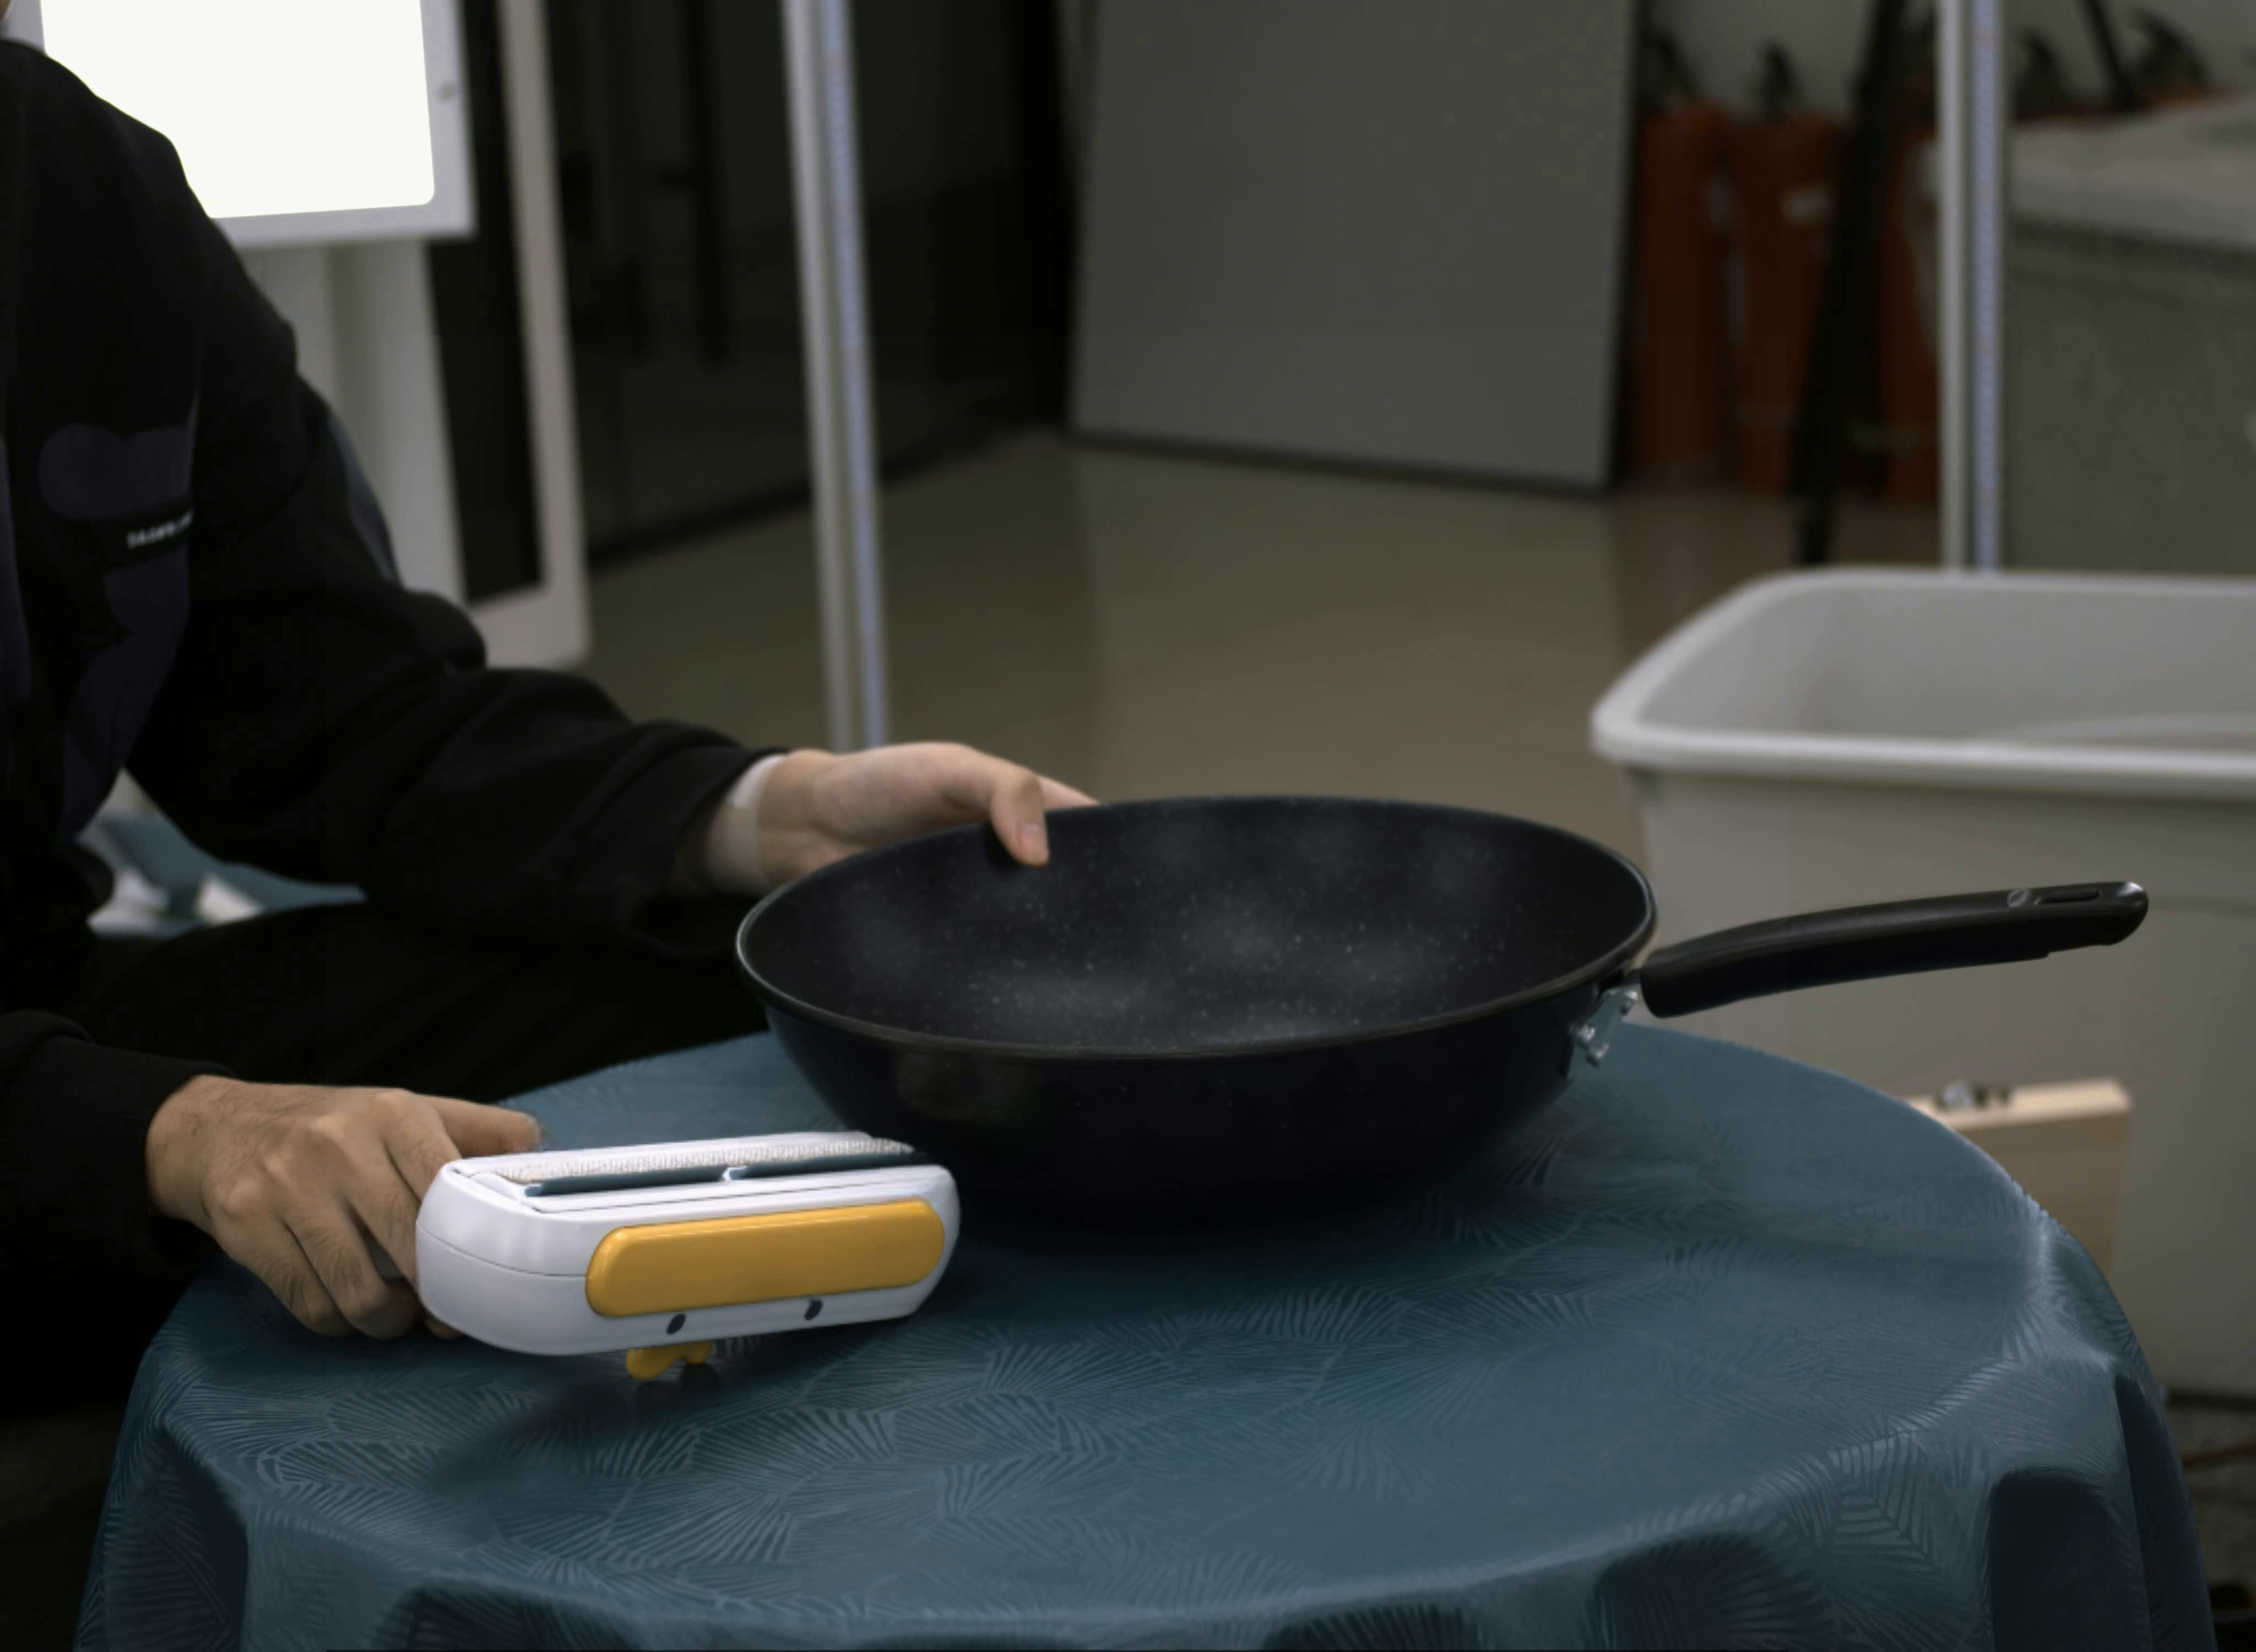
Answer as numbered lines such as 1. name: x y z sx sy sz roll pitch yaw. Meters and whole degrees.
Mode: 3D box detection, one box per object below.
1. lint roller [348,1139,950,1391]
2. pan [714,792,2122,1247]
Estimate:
1. lint roller: -0.175 0.126 1.662 0.188 0.075 0.194 -6 10 -42
2. pan: 0.092 0.063 1.756 0.477 0.113 0.306 2 17 26
